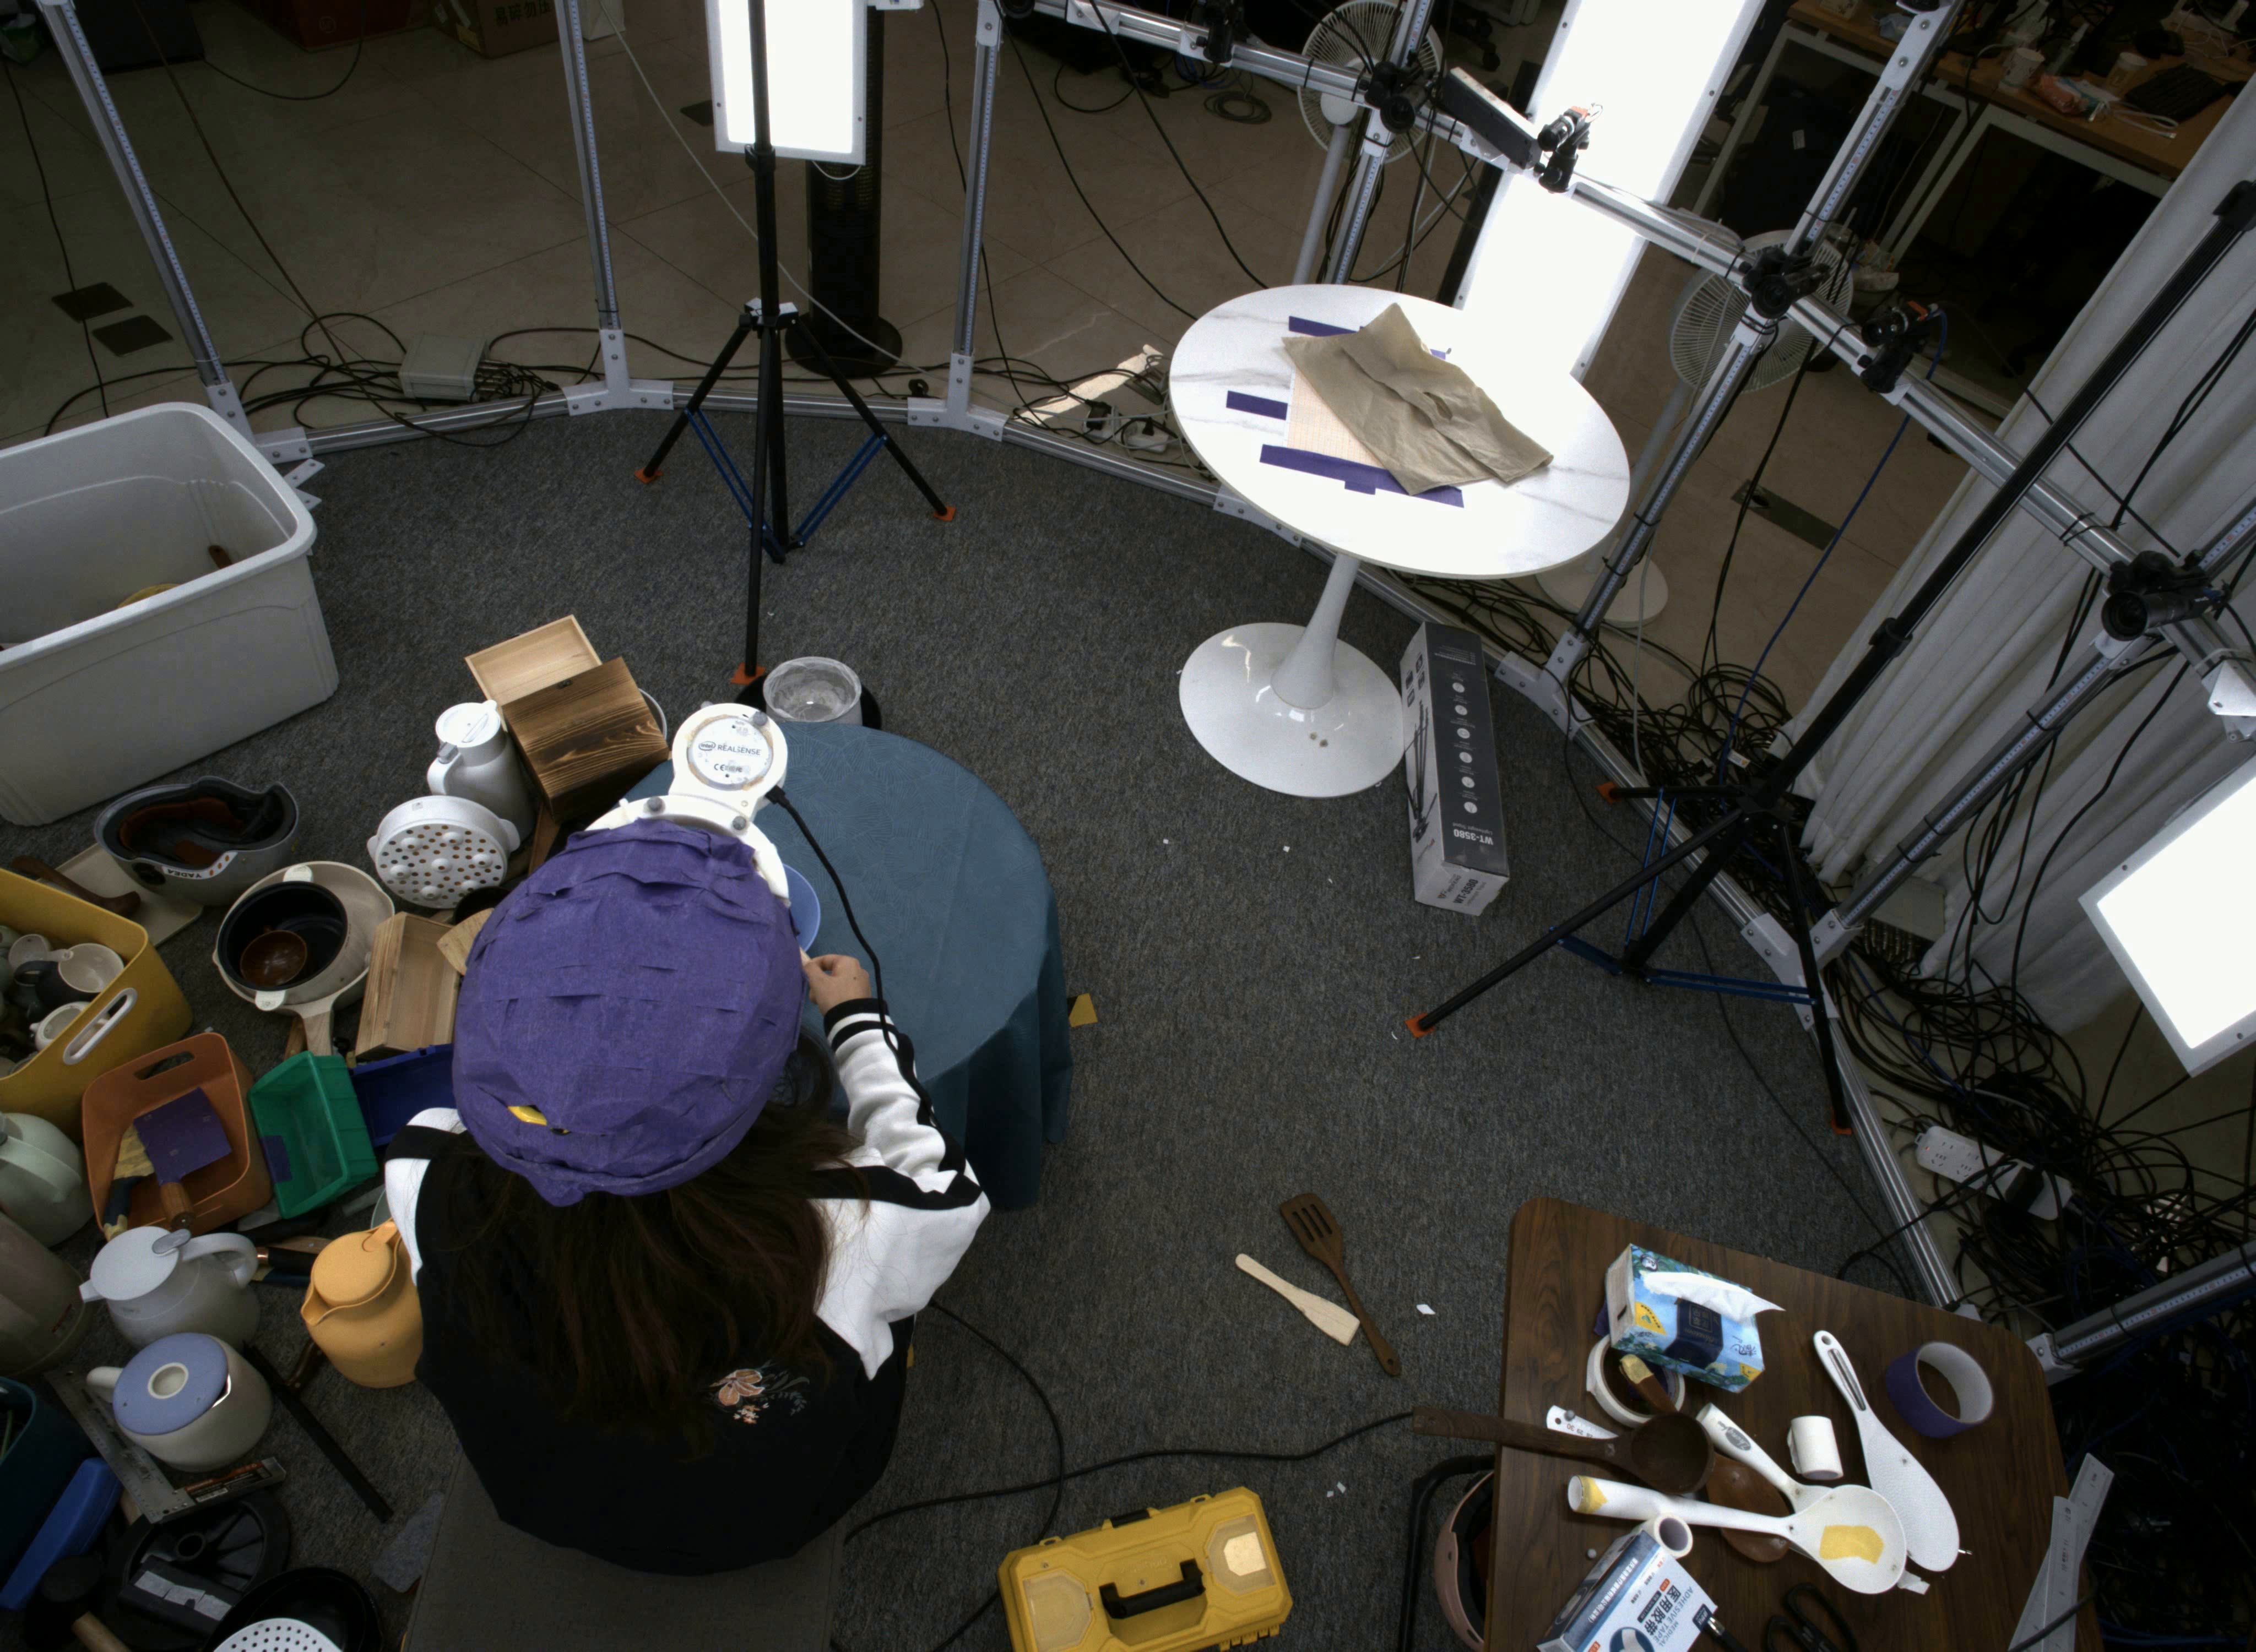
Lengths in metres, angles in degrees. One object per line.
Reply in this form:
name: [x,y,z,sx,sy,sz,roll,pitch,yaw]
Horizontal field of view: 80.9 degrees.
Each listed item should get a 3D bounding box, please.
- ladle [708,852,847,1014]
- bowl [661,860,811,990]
ladle: [-0.393,0.114,1.460,0.072,0.075,0.245,-31,49,-30]
bowl: [-0.471,0.129,1.565,0.175,0.072,0.173,7,52,-8]
